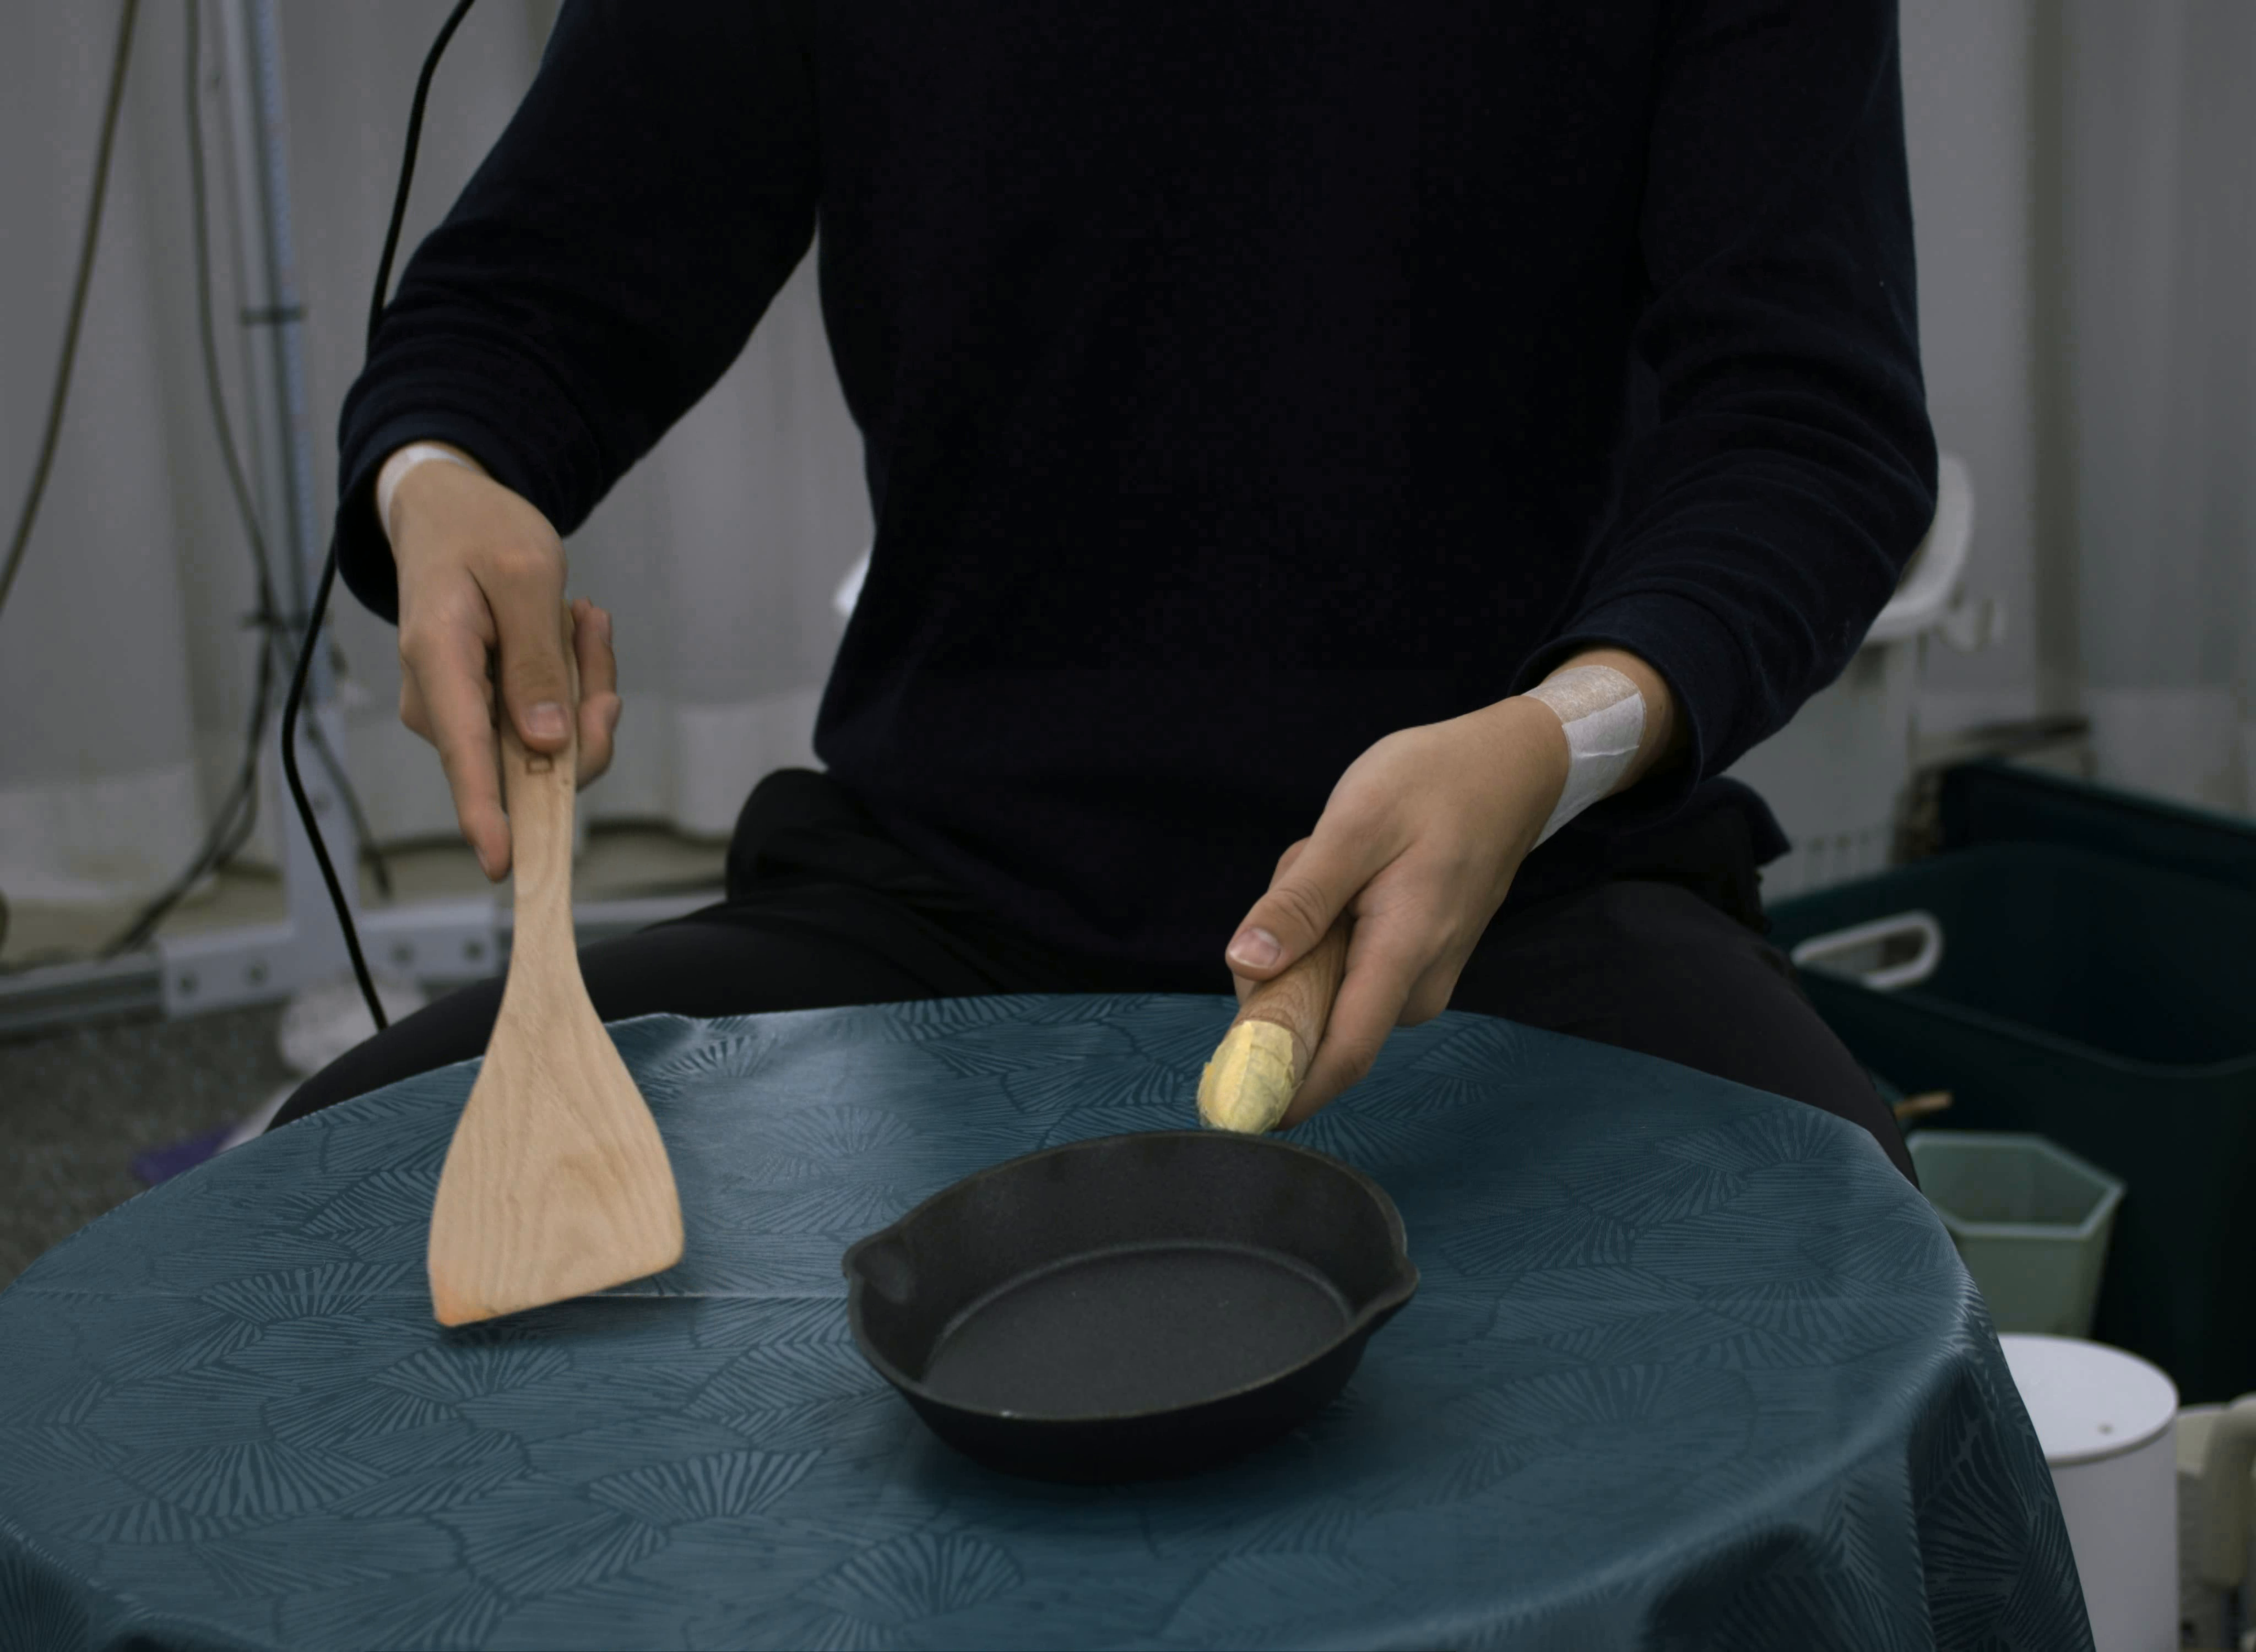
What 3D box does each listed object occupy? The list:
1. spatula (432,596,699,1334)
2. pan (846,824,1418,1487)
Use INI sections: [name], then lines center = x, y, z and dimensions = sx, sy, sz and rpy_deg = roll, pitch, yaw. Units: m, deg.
[spatula]
center = -0.181, 0.035, 1.724
dimensions = 0.079, 0.016, 0.333
rpy_deg = -7, 44, -1
[pan]
center = 0.030, 0.092, 1.595
dimensions = 0.169, 0.049, 0.327
rpy_deg = 2, 28, 22
